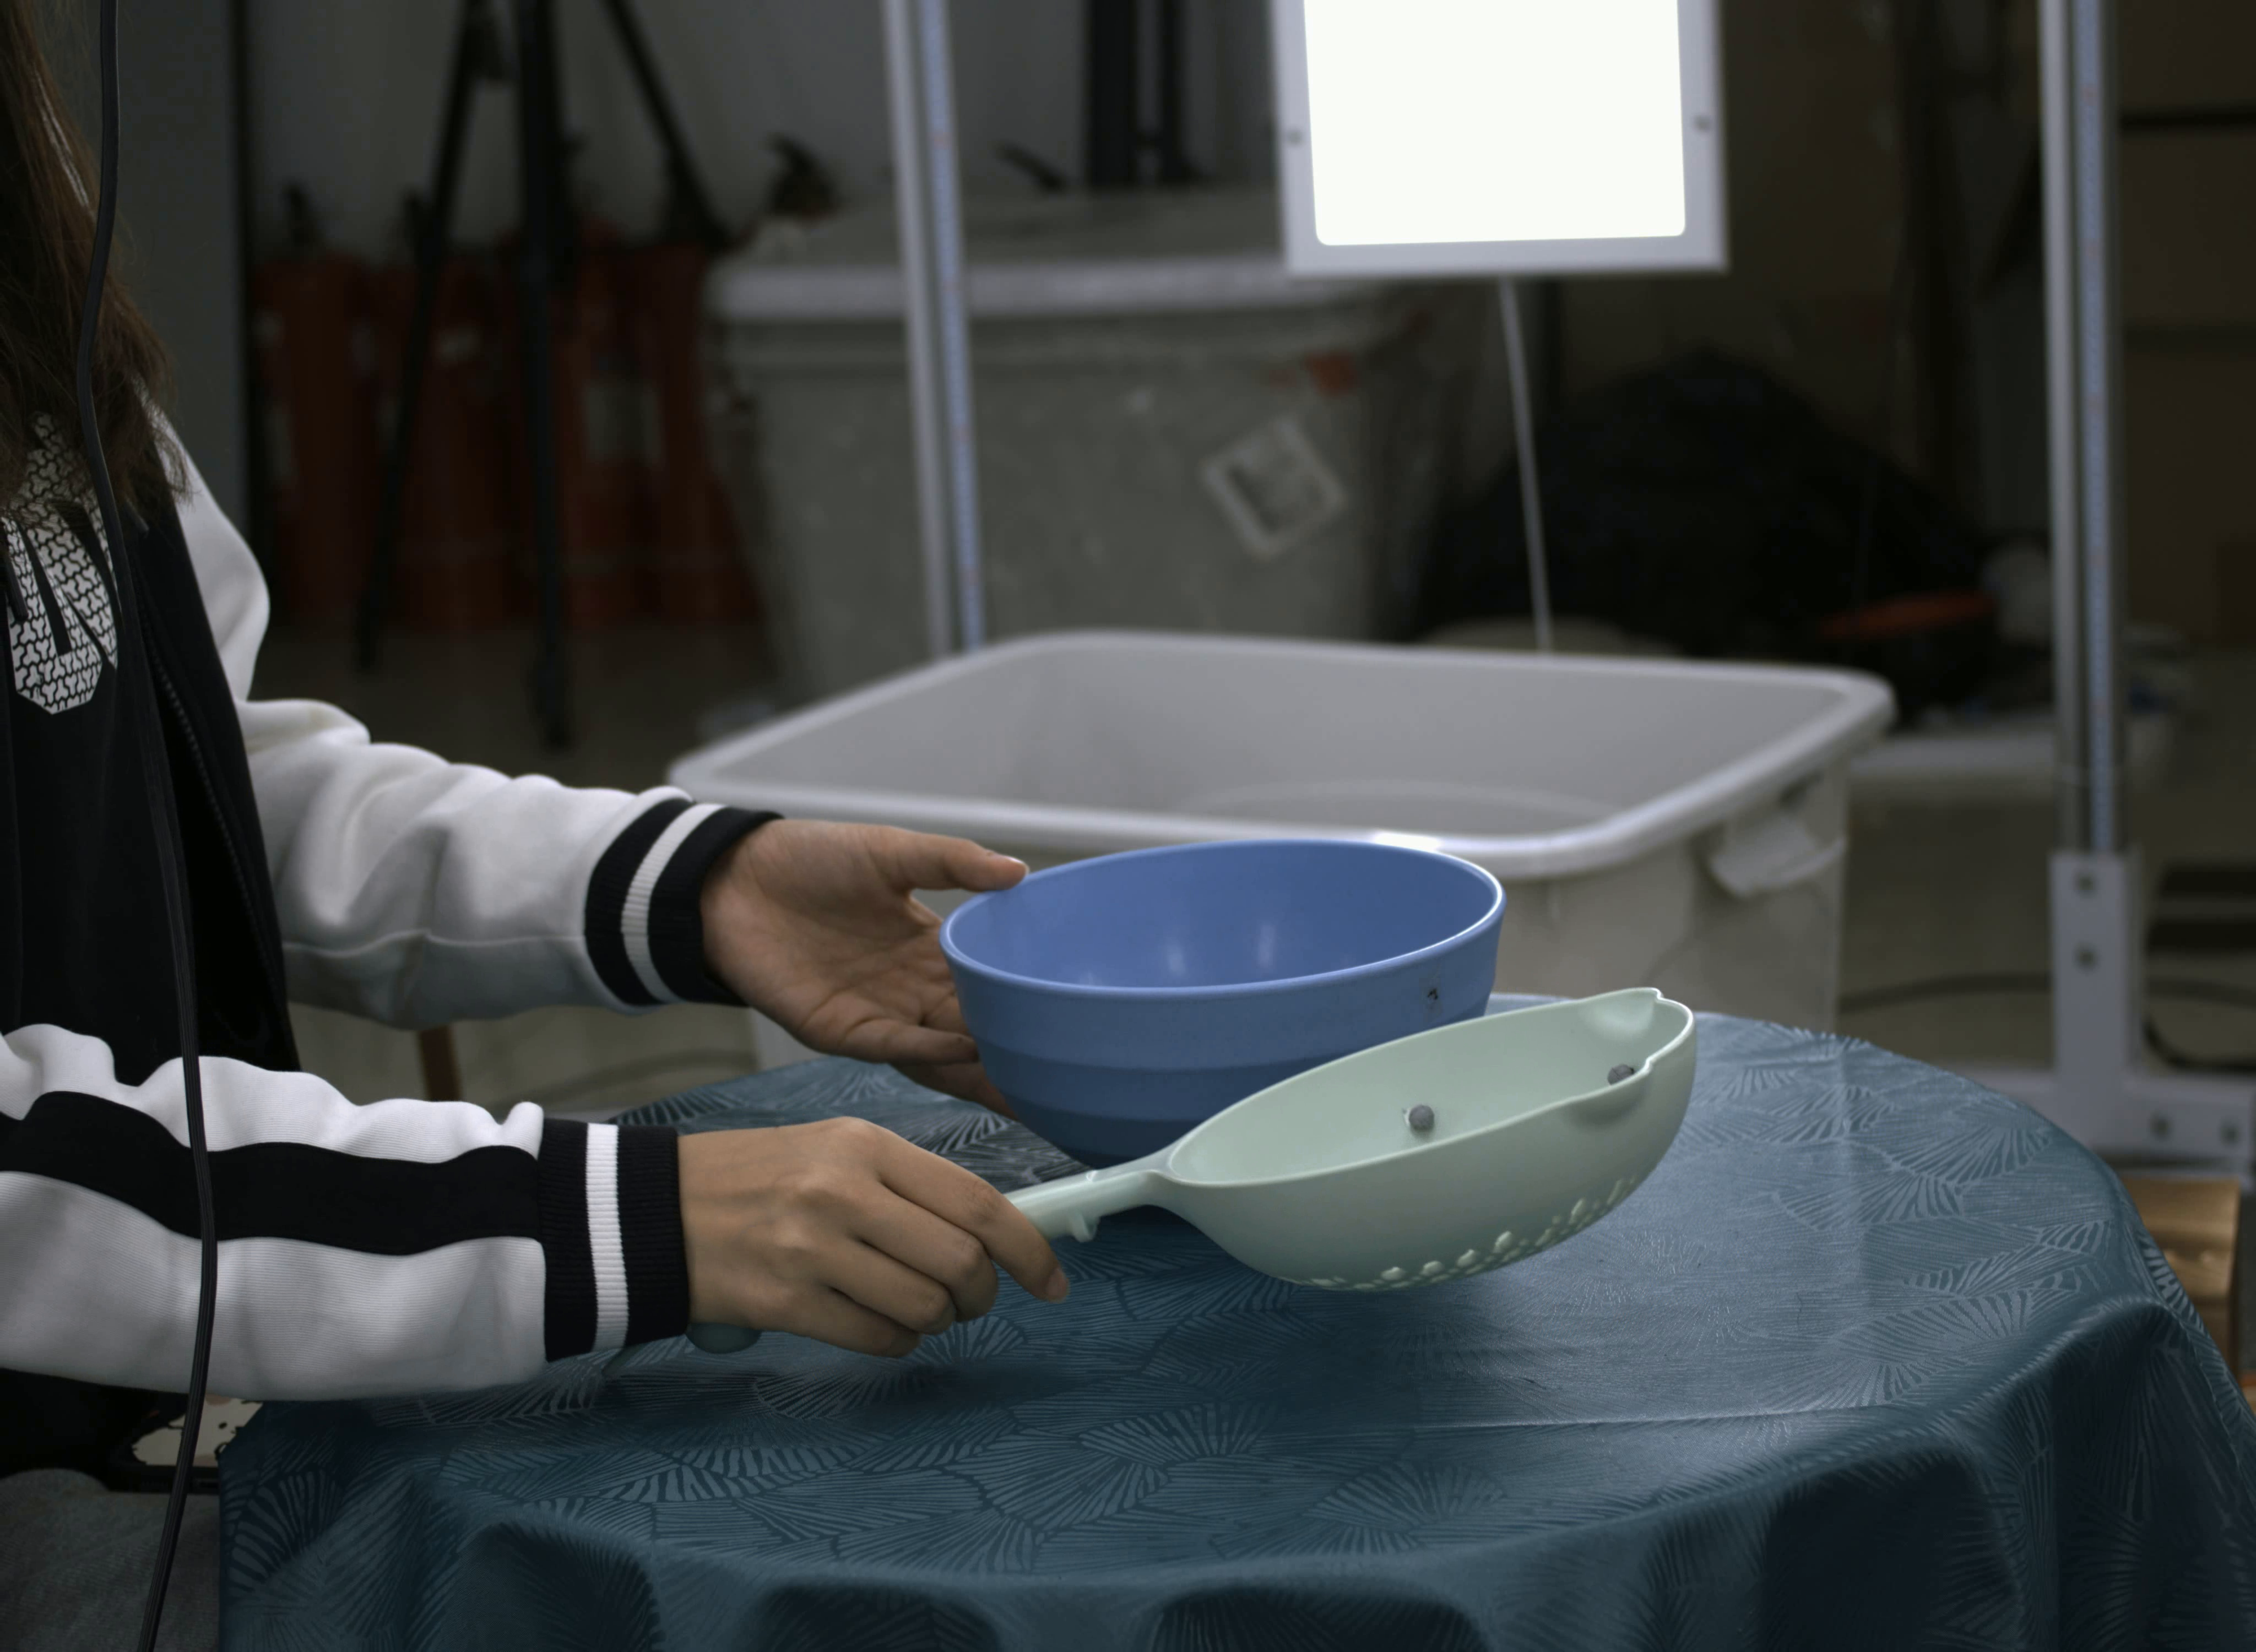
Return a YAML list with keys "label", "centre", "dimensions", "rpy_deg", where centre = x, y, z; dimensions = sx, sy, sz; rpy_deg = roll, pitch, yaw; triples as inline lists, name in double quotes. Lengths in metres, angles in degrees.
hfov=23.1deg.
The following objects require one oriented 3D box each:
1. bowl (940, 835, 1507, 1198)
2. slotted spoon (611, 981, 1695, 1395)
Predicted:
- label: "bowl"
  centre: [0.036, 0.074, 1.901]
  dimensions: [0.196, 0.096, 0.196]
  rpy_deg: [-6, 14, 0]
- label: "slotted spoon"
  centre: [0.004, 0.119, 1.713]
  dimensions: [0.361, 0.075, 0.167]
  rpy_deg: [-9, 9, 12]
